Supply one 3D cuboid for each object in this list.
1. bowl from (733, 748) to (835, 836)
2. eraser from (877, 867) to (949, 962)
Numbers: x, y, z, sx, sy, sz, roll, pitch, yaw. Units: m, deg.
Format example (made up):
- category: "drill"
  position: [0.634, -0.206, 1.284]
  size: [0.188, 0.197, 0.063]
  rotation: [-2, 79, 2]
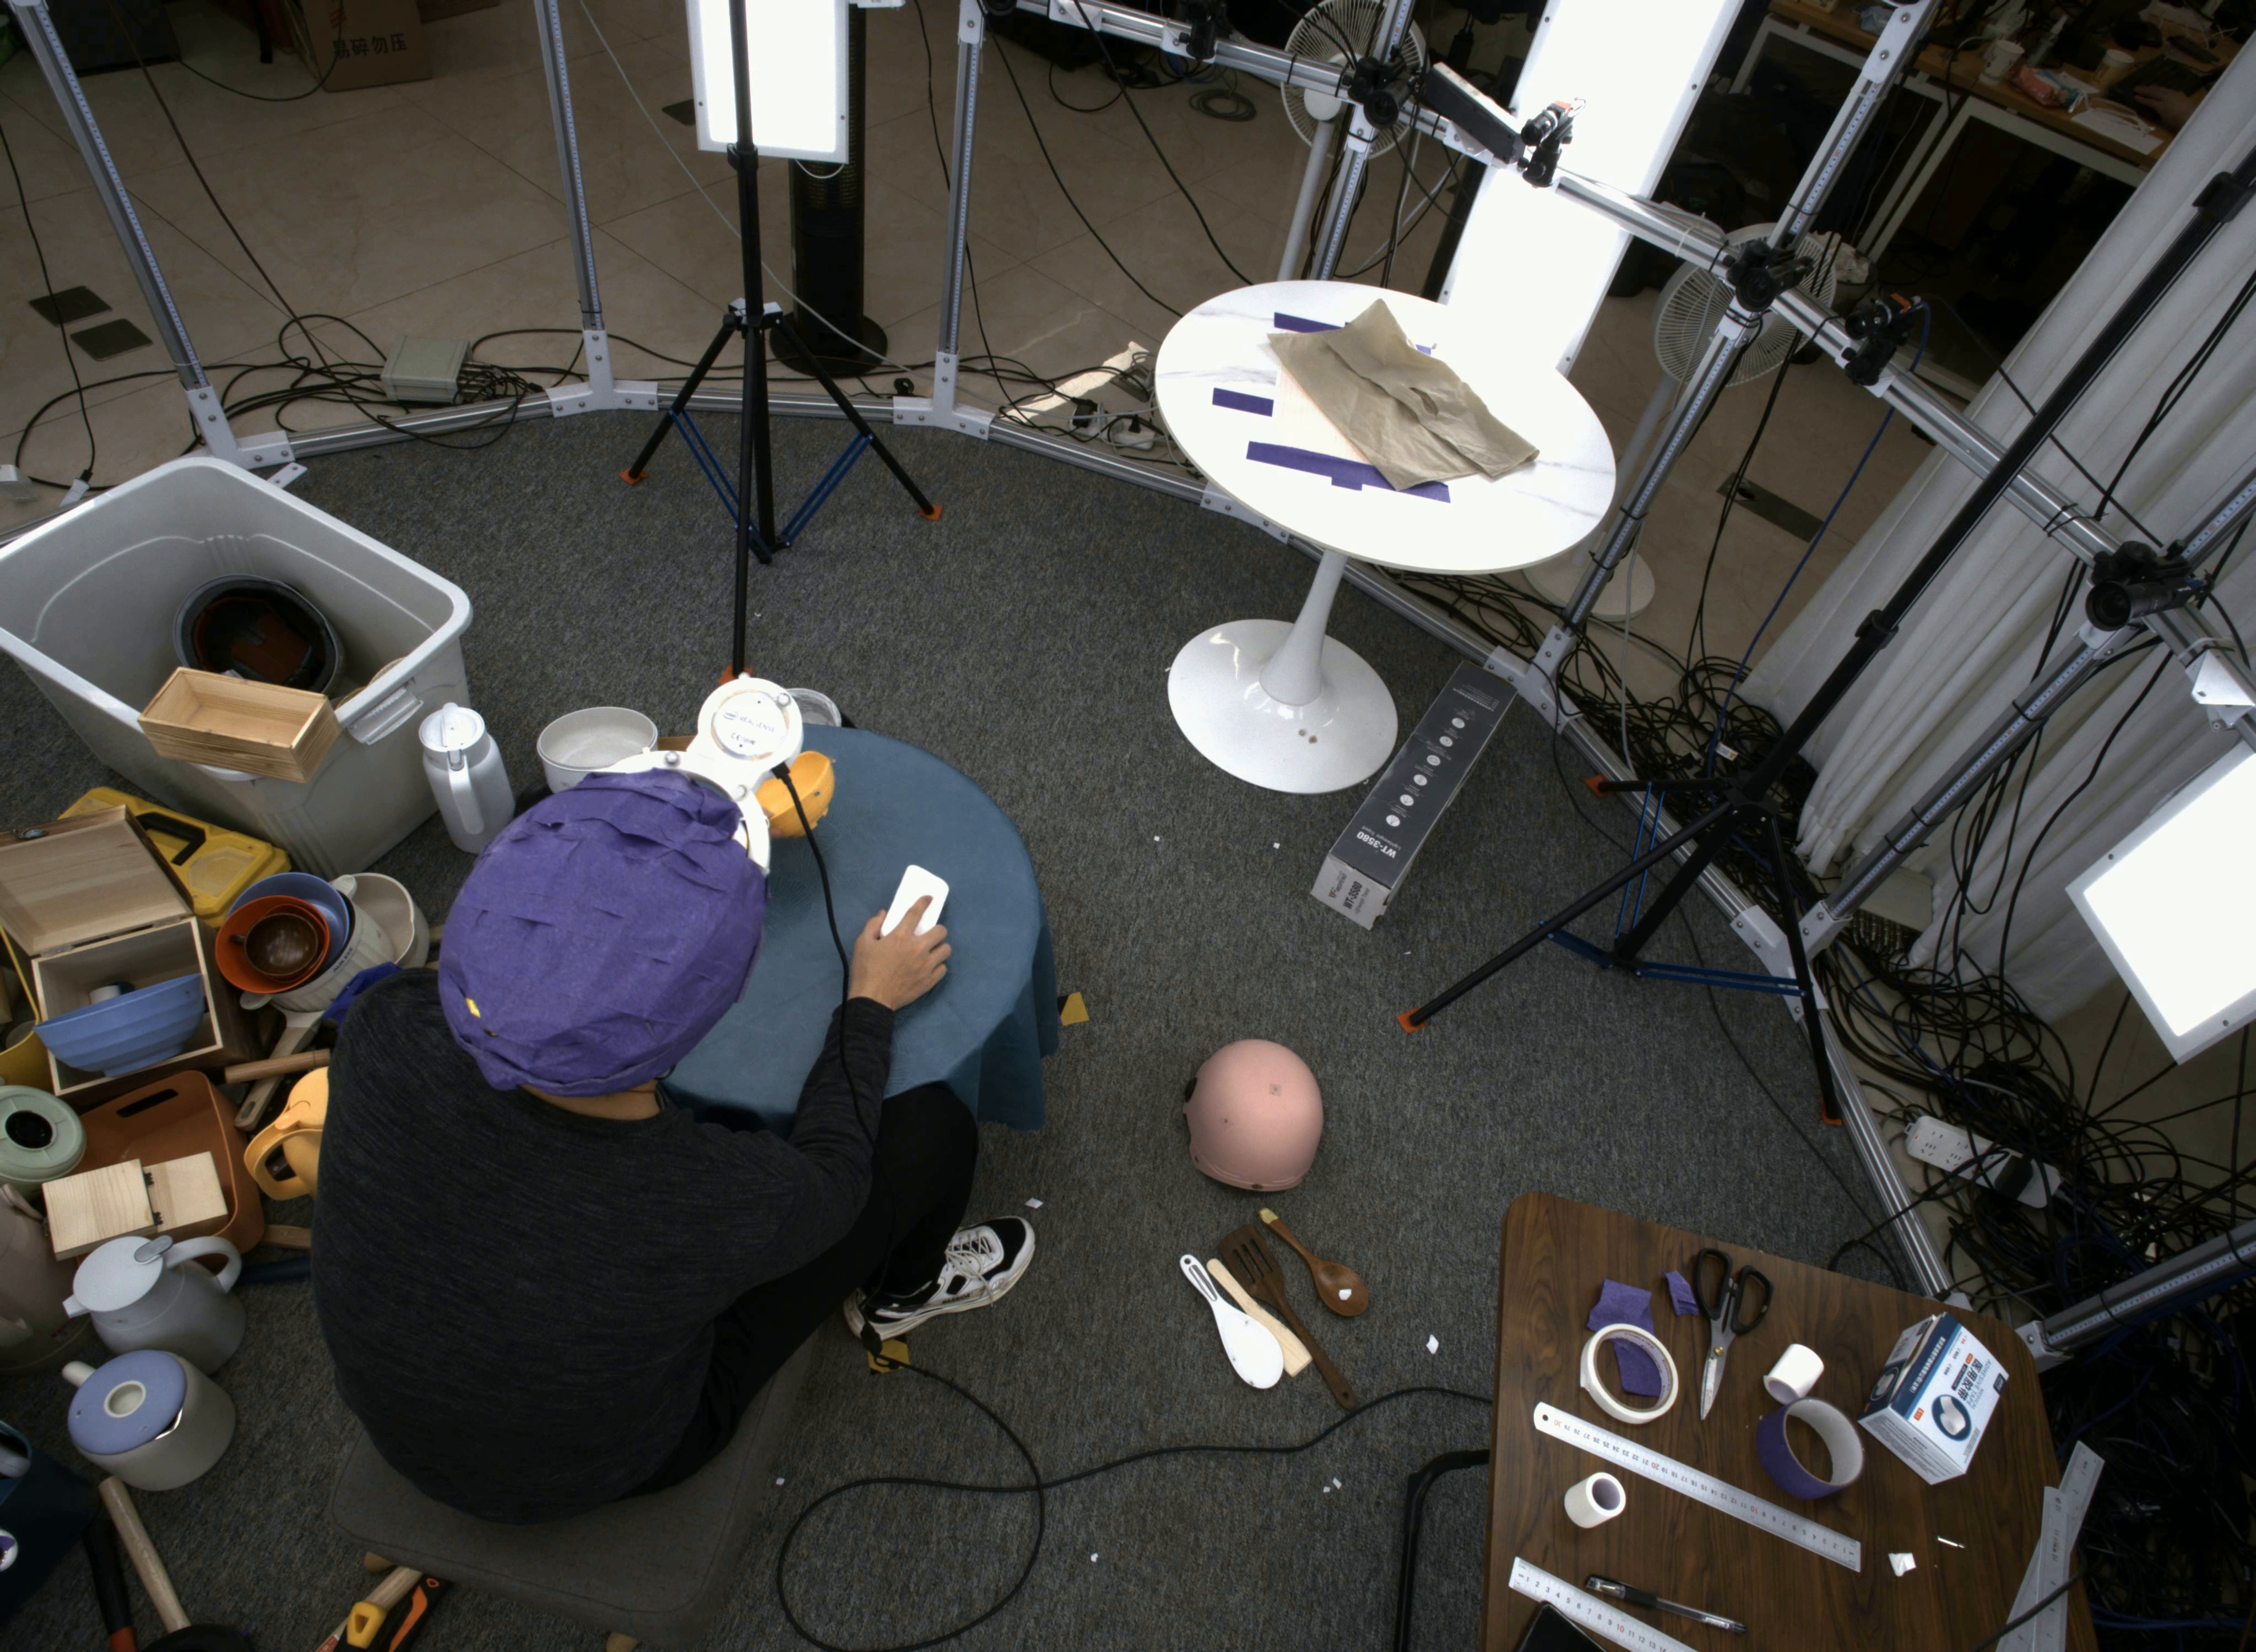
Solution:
- category: "bowl"
  position: [-0.426, -0.033, 1.648]
  size: [0.143, 0.062, 0.142]
  rotation: [-20, 33, 15]
- category: "eraser"
  position: [-0.272, 0.107, 1.641]
  size: [0.064, 0.034, 0.129]
  rotation: [30, 41, -13]
